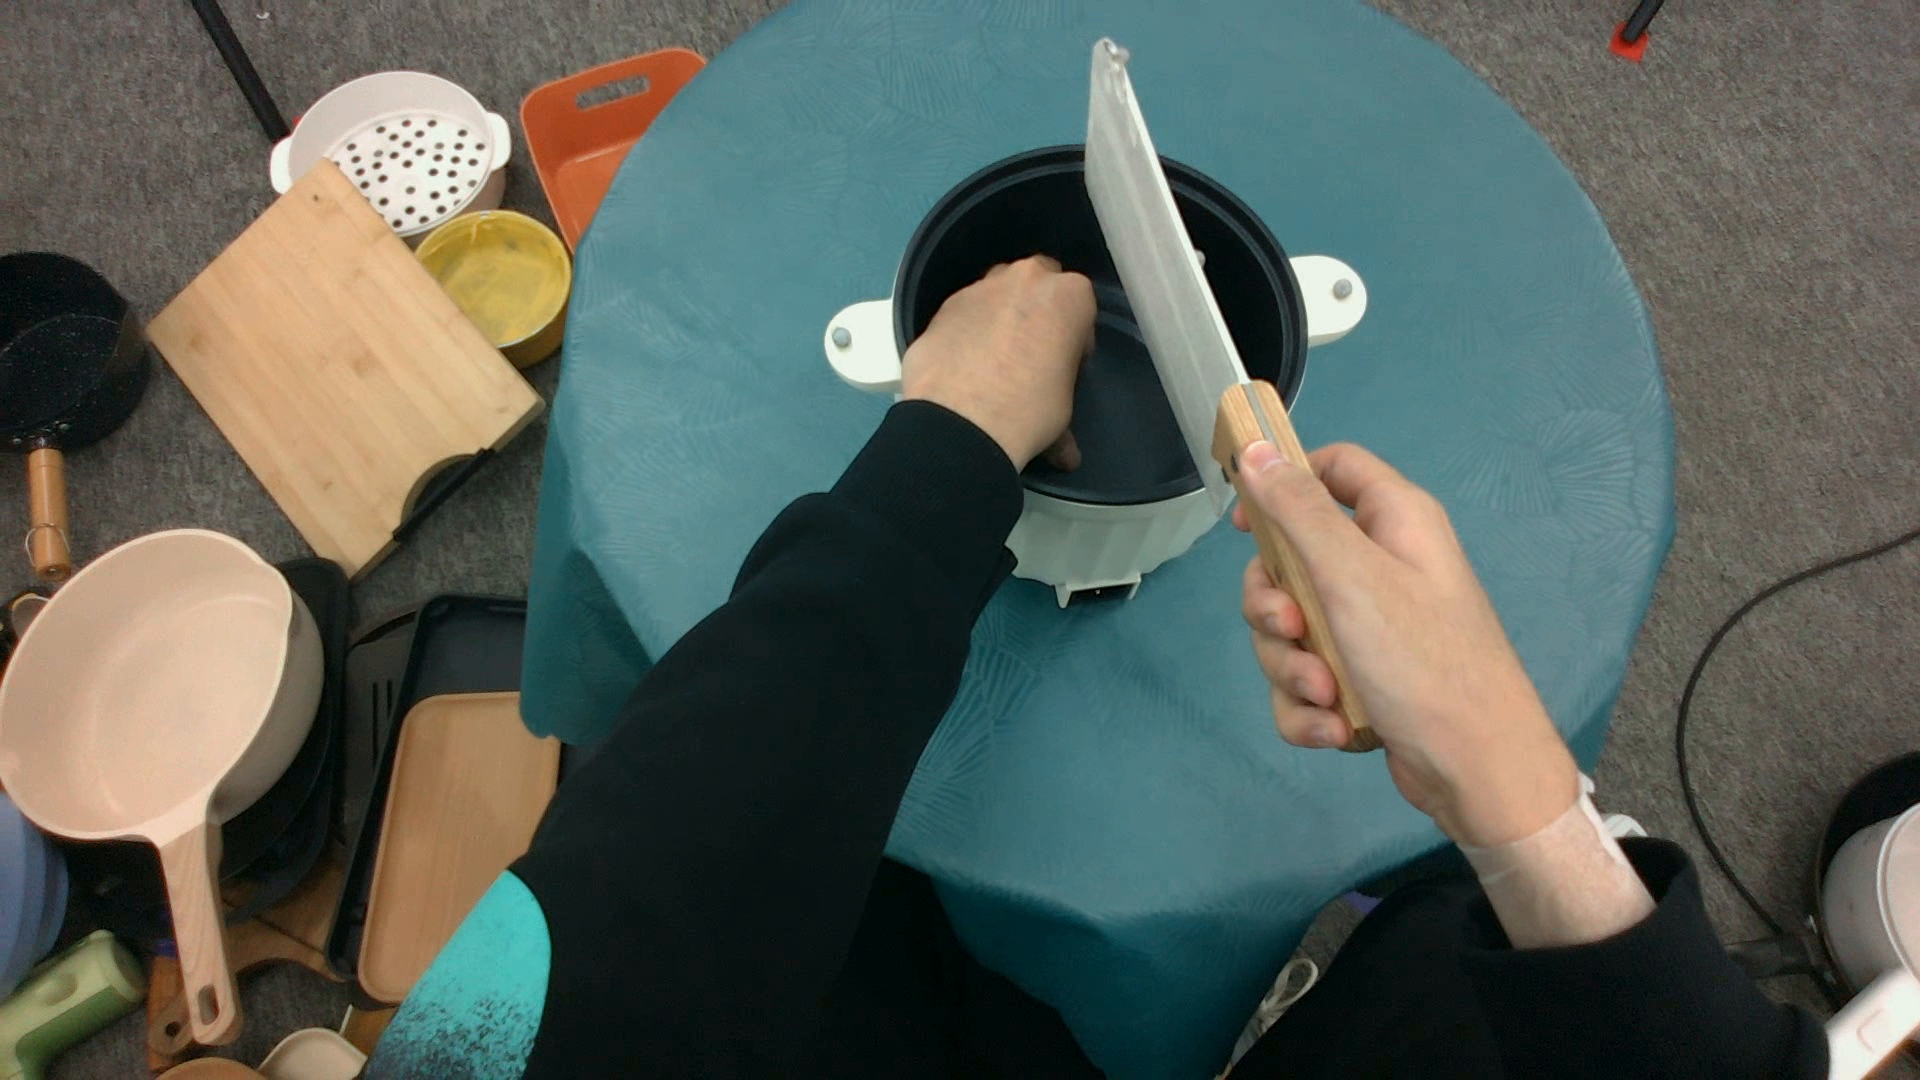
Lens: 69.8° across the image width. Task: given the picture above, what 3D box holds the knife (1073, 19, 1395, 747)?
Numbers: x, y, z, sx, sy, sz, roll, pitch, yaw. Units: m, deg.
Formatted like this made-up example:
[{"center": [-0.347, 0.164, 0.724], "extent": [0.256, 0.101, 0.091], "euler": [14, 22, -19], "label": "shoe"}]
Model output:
[{"center": [0.088, -0.067, 0.515], "extent": [0.022, 0.113, 0.316], "euler": [-13, 58, -5], "label": "knife"}]

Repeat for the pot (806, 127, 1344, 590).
[{"center": [0.046, -0.085, 0.657], "extent": [0.240, 0.142, 0.191], "euler": [-7, 71, -9], "label": "pot"}]
